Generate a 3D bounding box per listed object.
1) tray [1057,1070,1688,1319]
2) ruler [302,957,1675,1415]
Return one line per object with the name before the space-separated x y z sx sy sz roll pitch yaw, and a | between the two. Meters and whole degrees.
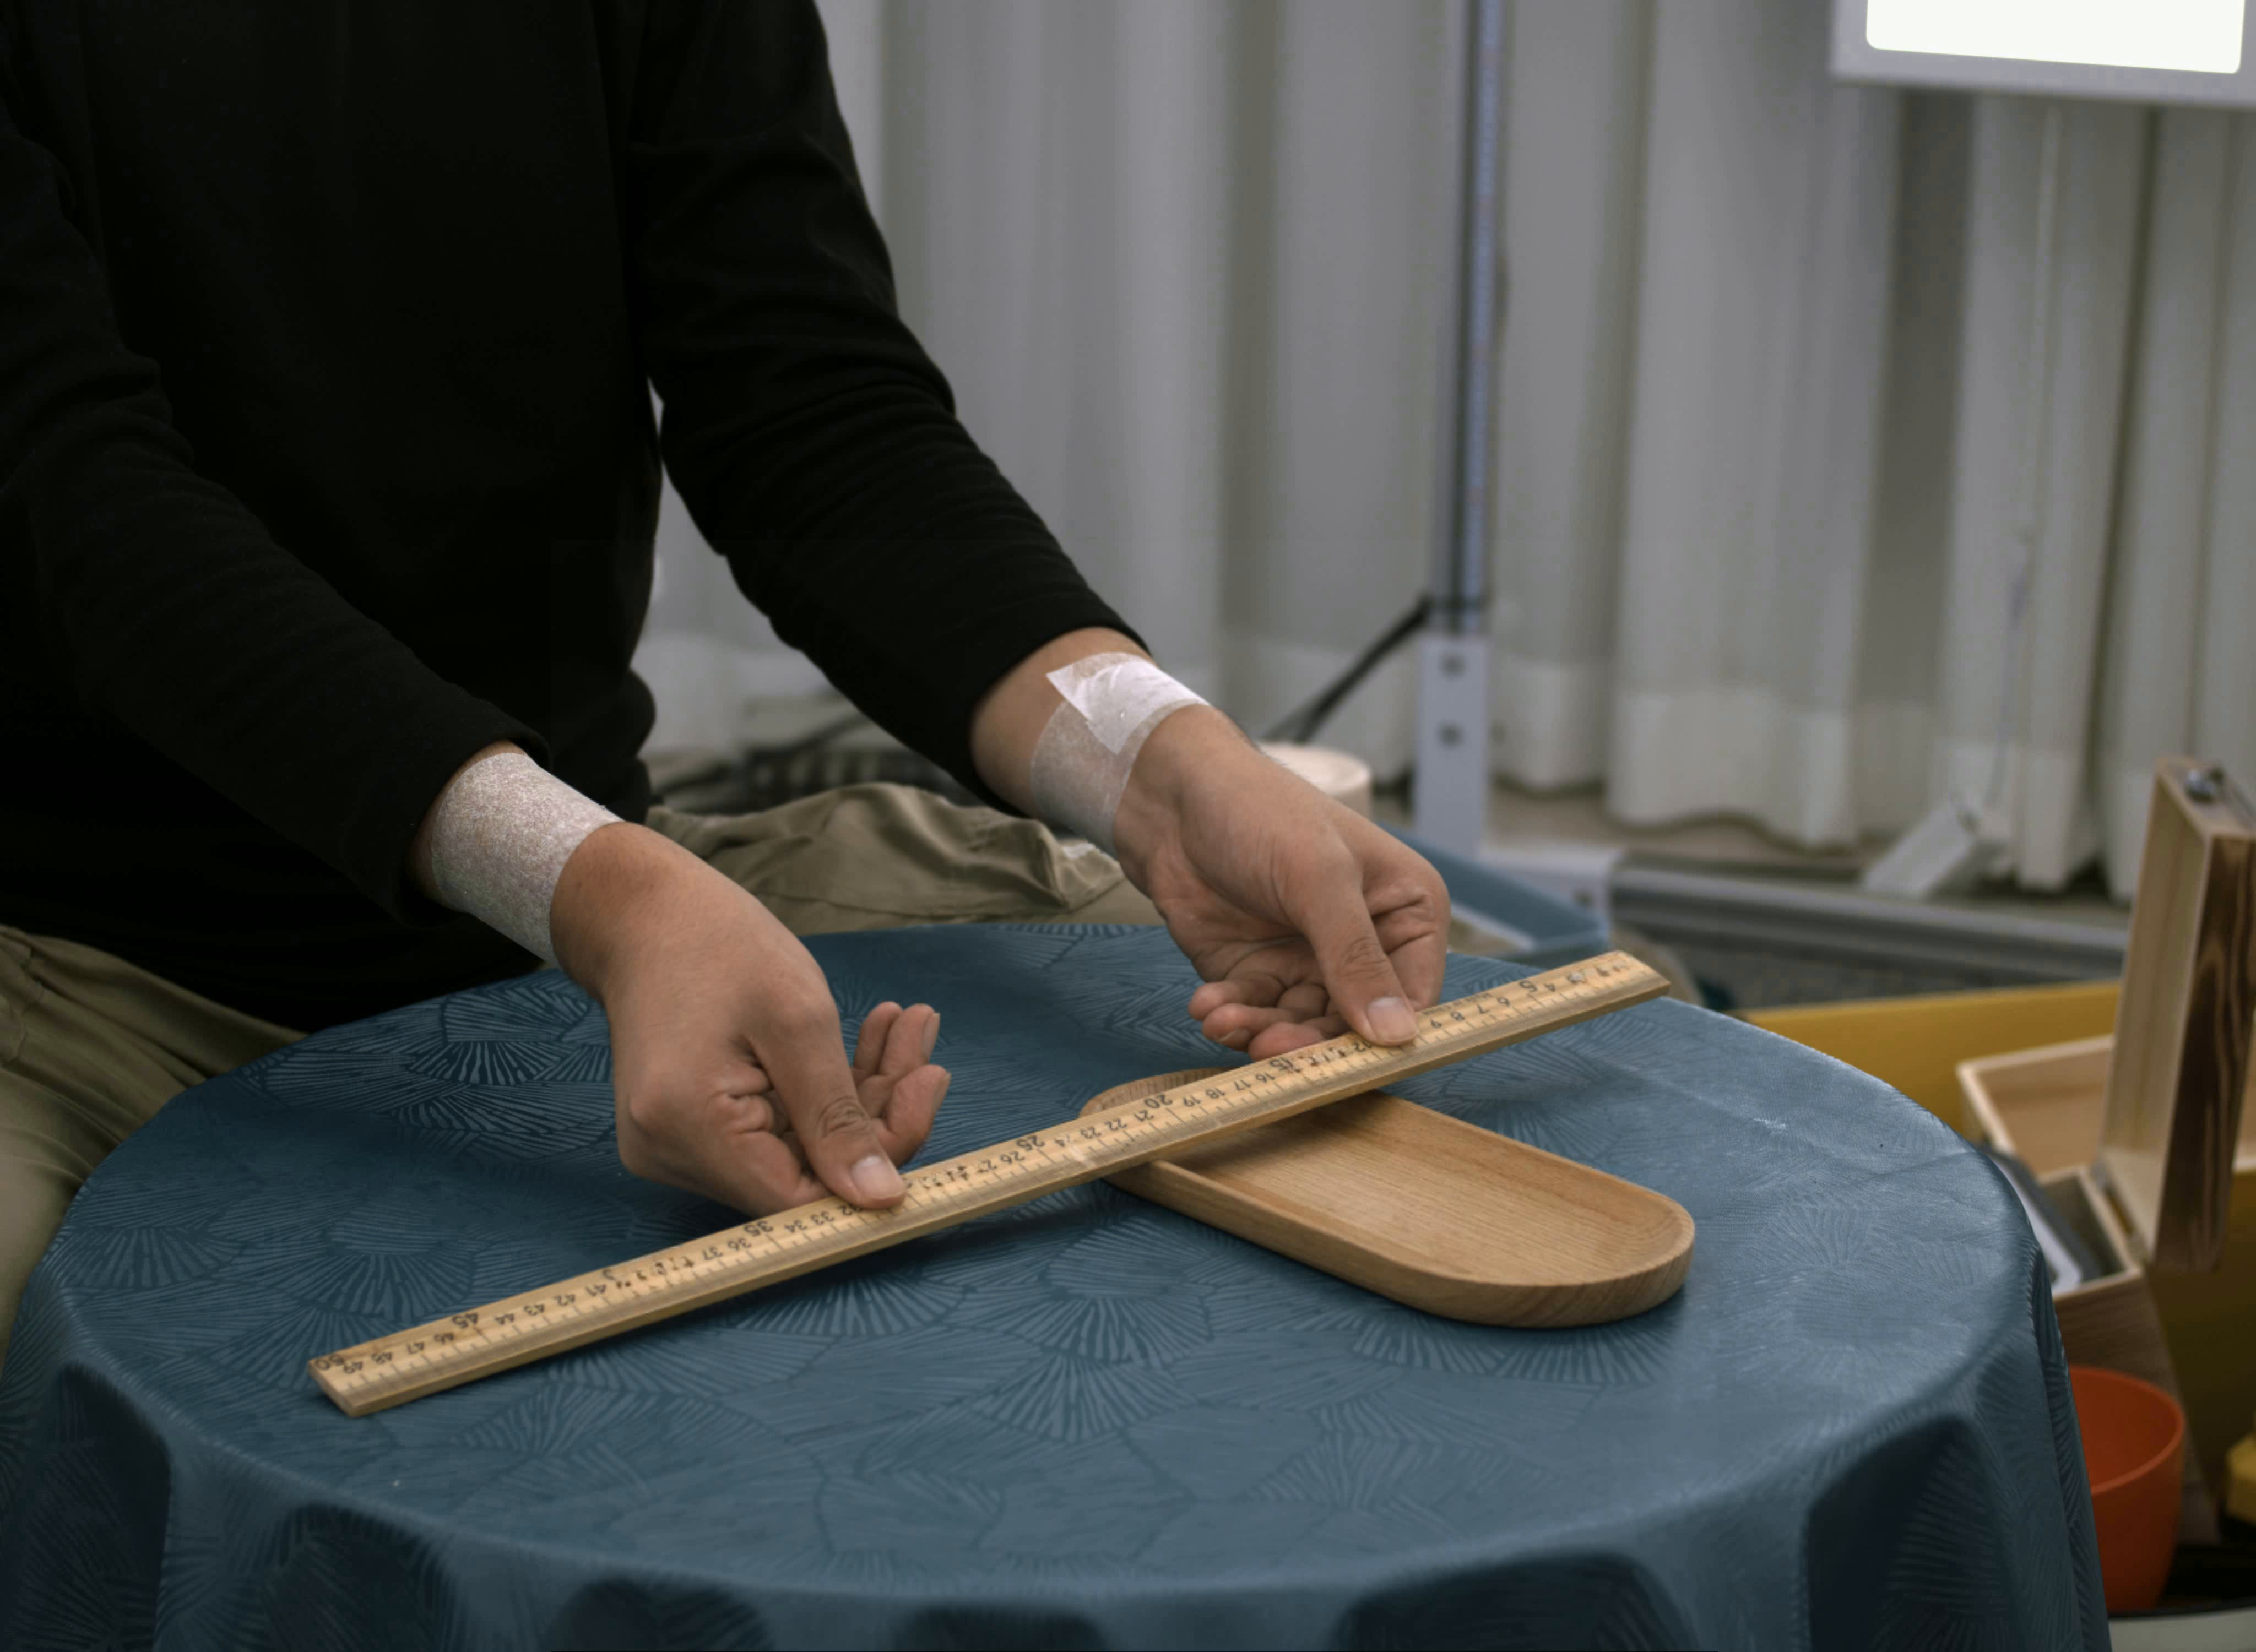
tray | 0.071 0.110 1.599 0.102 0.020 0.228 -11 17 -41
ruler | -0.025 0.101 1.590 0.502 0.006 0.026 -15 35 -36
